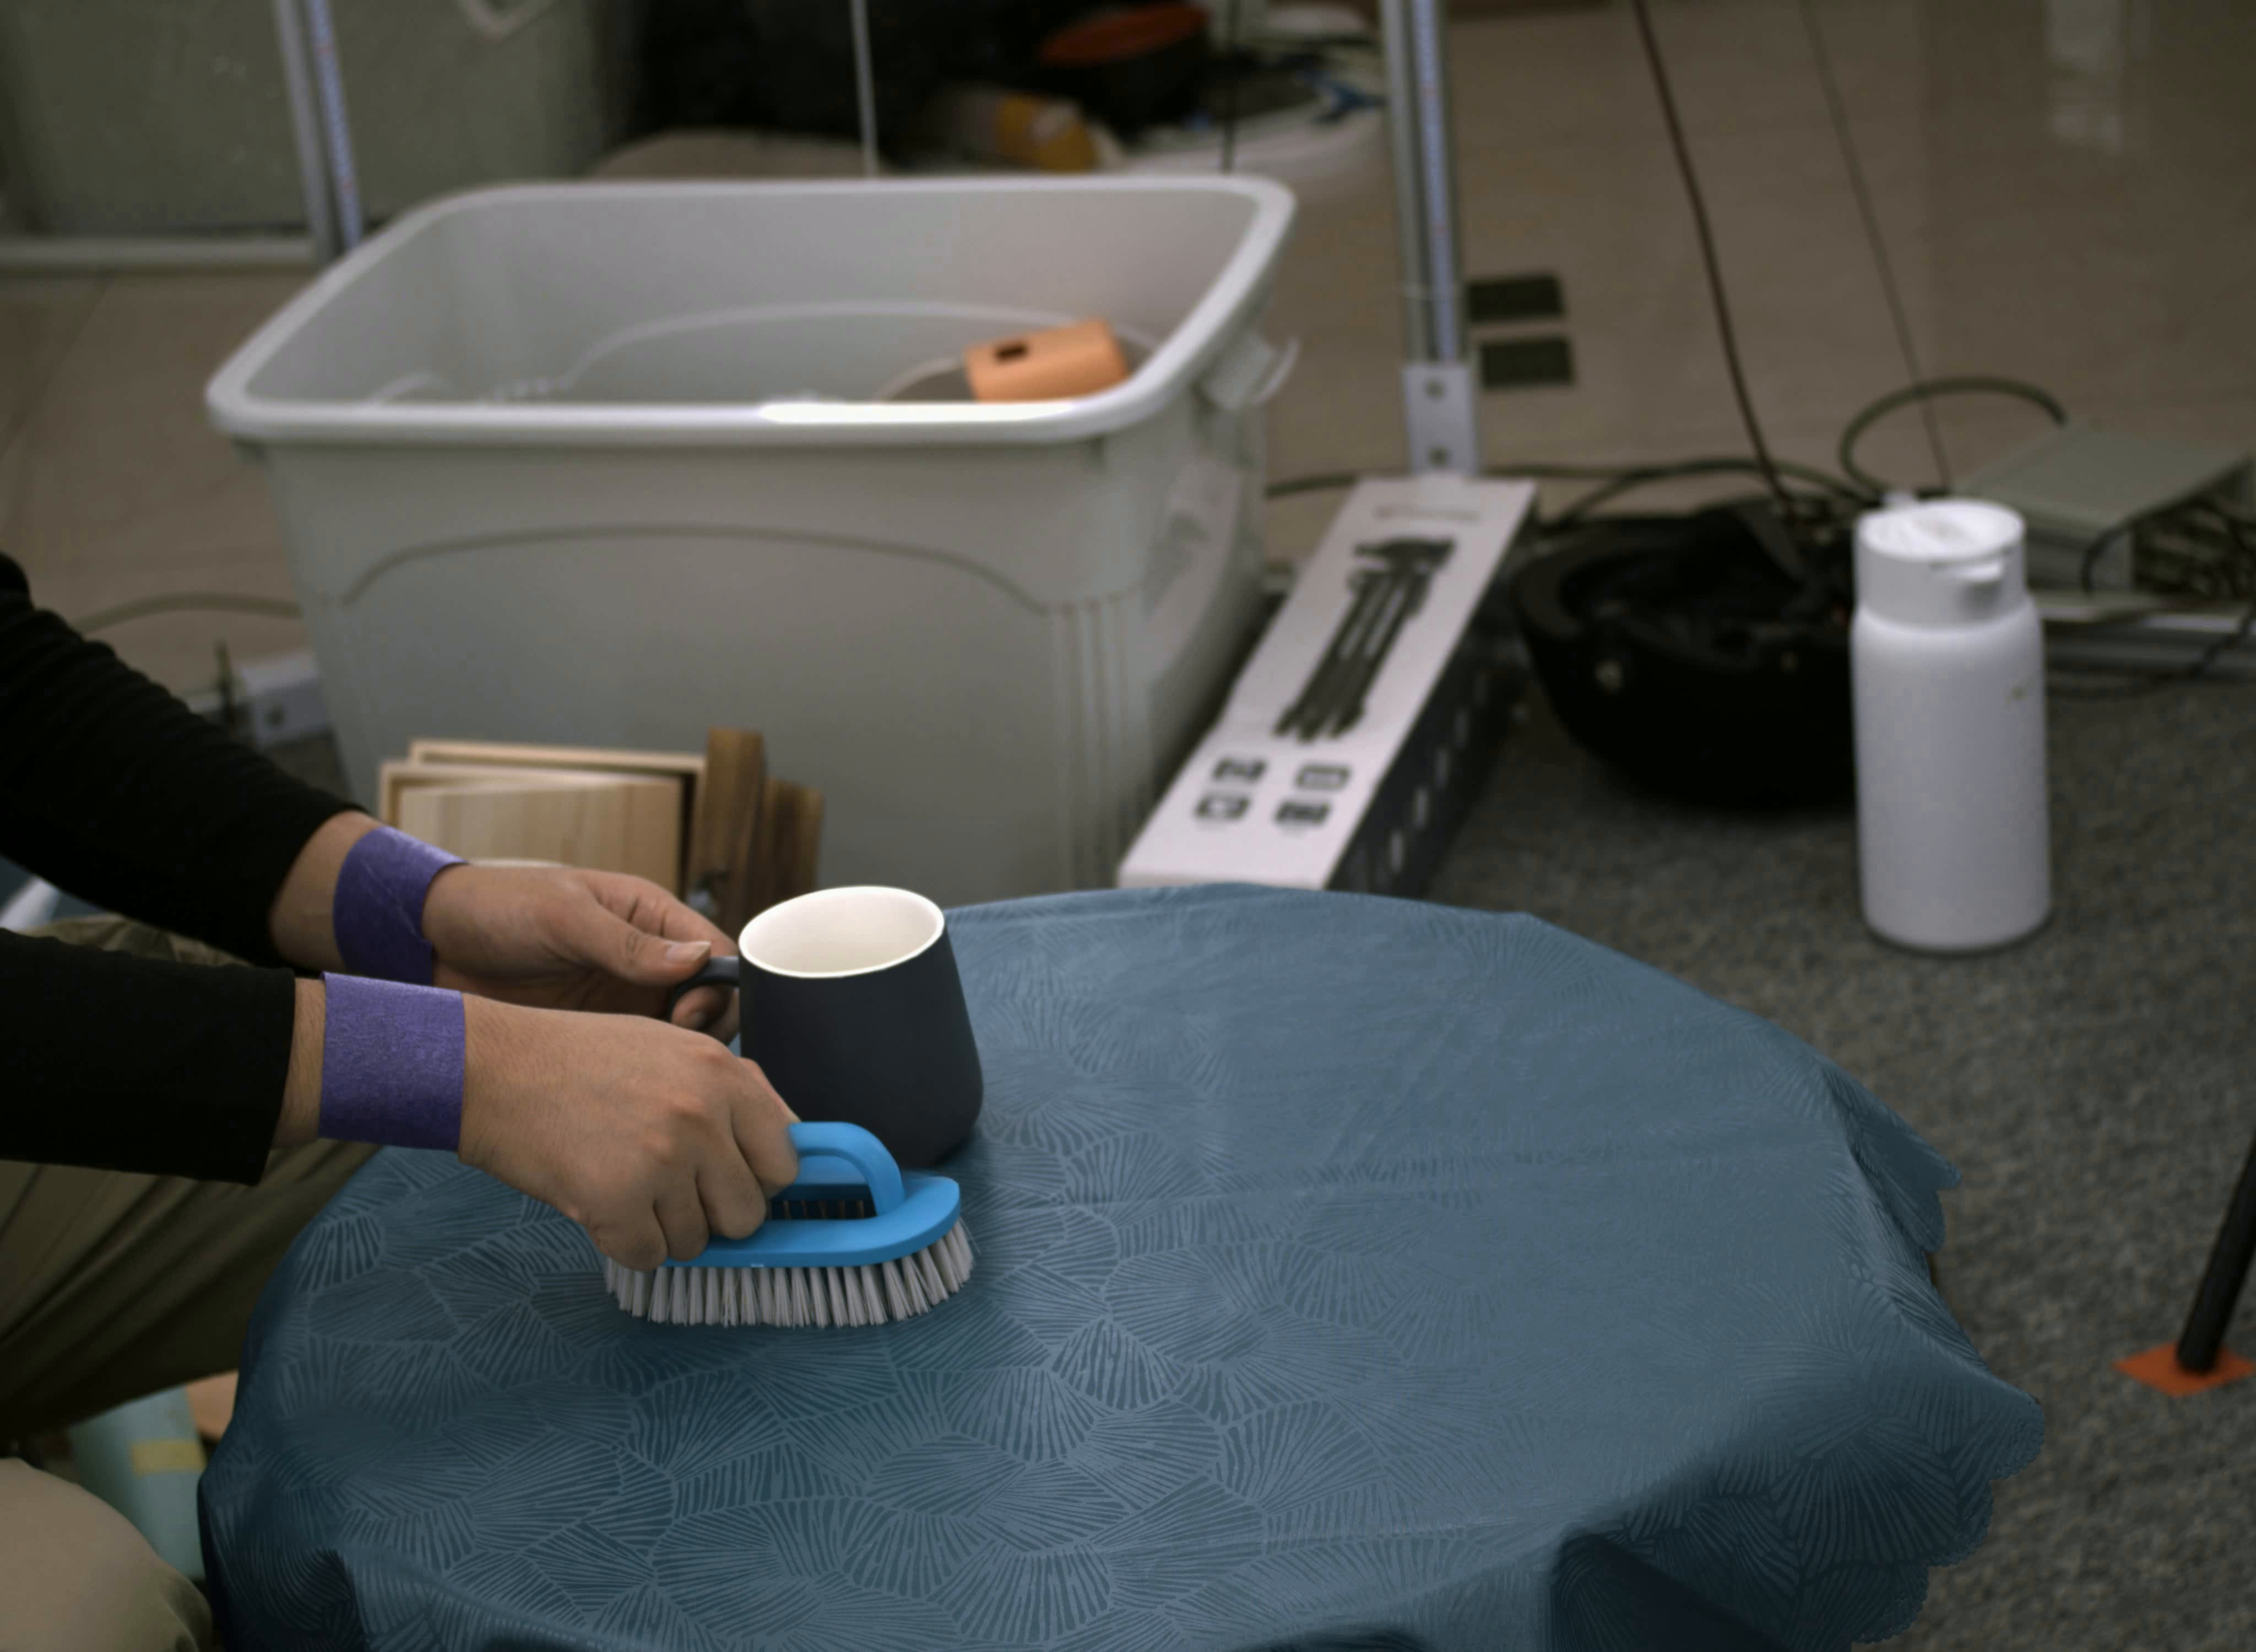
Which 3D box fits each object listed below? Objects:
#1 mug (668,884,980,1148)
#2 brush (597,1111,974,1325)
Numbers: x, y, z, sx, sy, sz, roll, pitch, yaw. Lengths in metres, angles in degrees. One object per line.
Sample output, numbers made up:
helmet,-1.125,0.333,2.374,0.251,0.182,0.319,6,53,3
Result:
mug,-0.120,0.078,2.194,0.123,0.091,0.092,4,27,18
brush,-0.131,0.136,2.104,0.141,0.065,0.083,0,31,14
